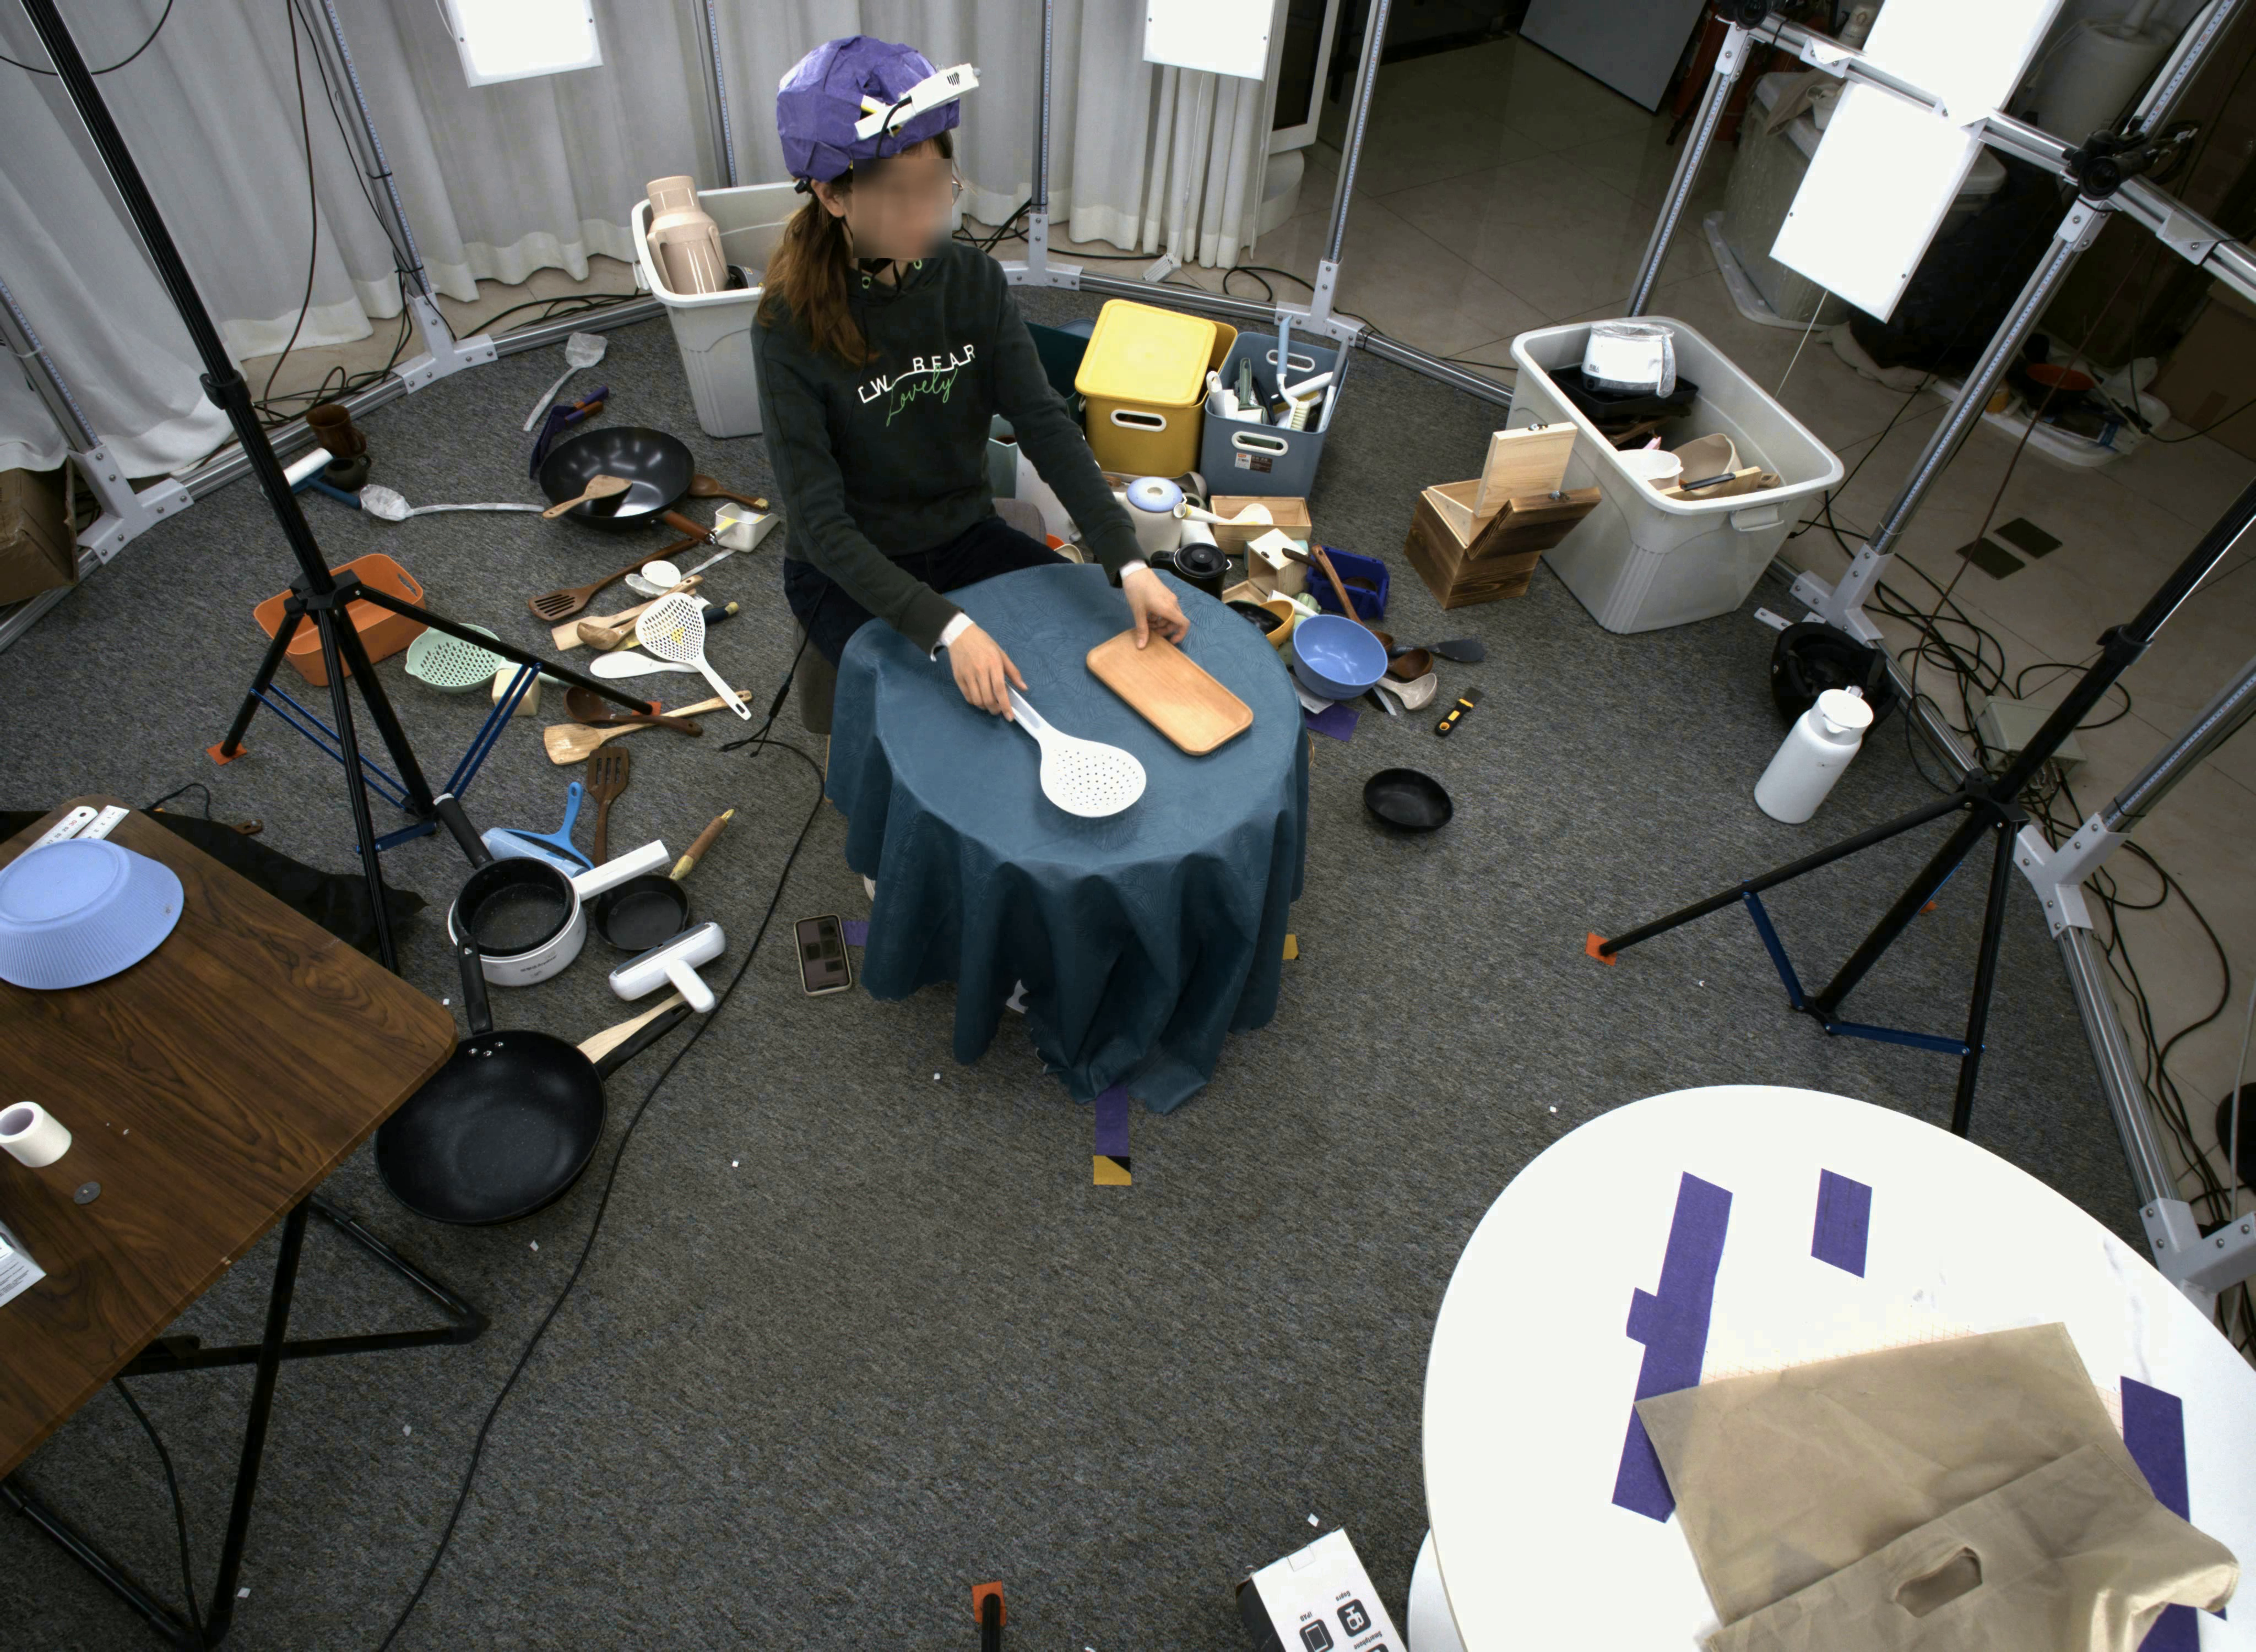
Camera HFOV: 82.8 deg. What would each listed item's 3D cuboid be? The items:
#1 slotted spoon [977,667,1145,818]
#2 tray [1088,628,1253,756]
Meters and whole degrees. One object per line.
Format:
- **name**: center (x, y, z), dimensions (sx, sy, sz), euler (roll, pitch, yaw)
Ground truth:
- **slotted spoon**: center (-0.108, -0.120, 1.752), dimensions (0.136, 0.044, 0.356), euler (-24, 54, -25)
- **tray**: center (0.058, -0.196, 1.848), dimensions (0.131, 0.022, 0.255), euler (-29, 56, -28)
